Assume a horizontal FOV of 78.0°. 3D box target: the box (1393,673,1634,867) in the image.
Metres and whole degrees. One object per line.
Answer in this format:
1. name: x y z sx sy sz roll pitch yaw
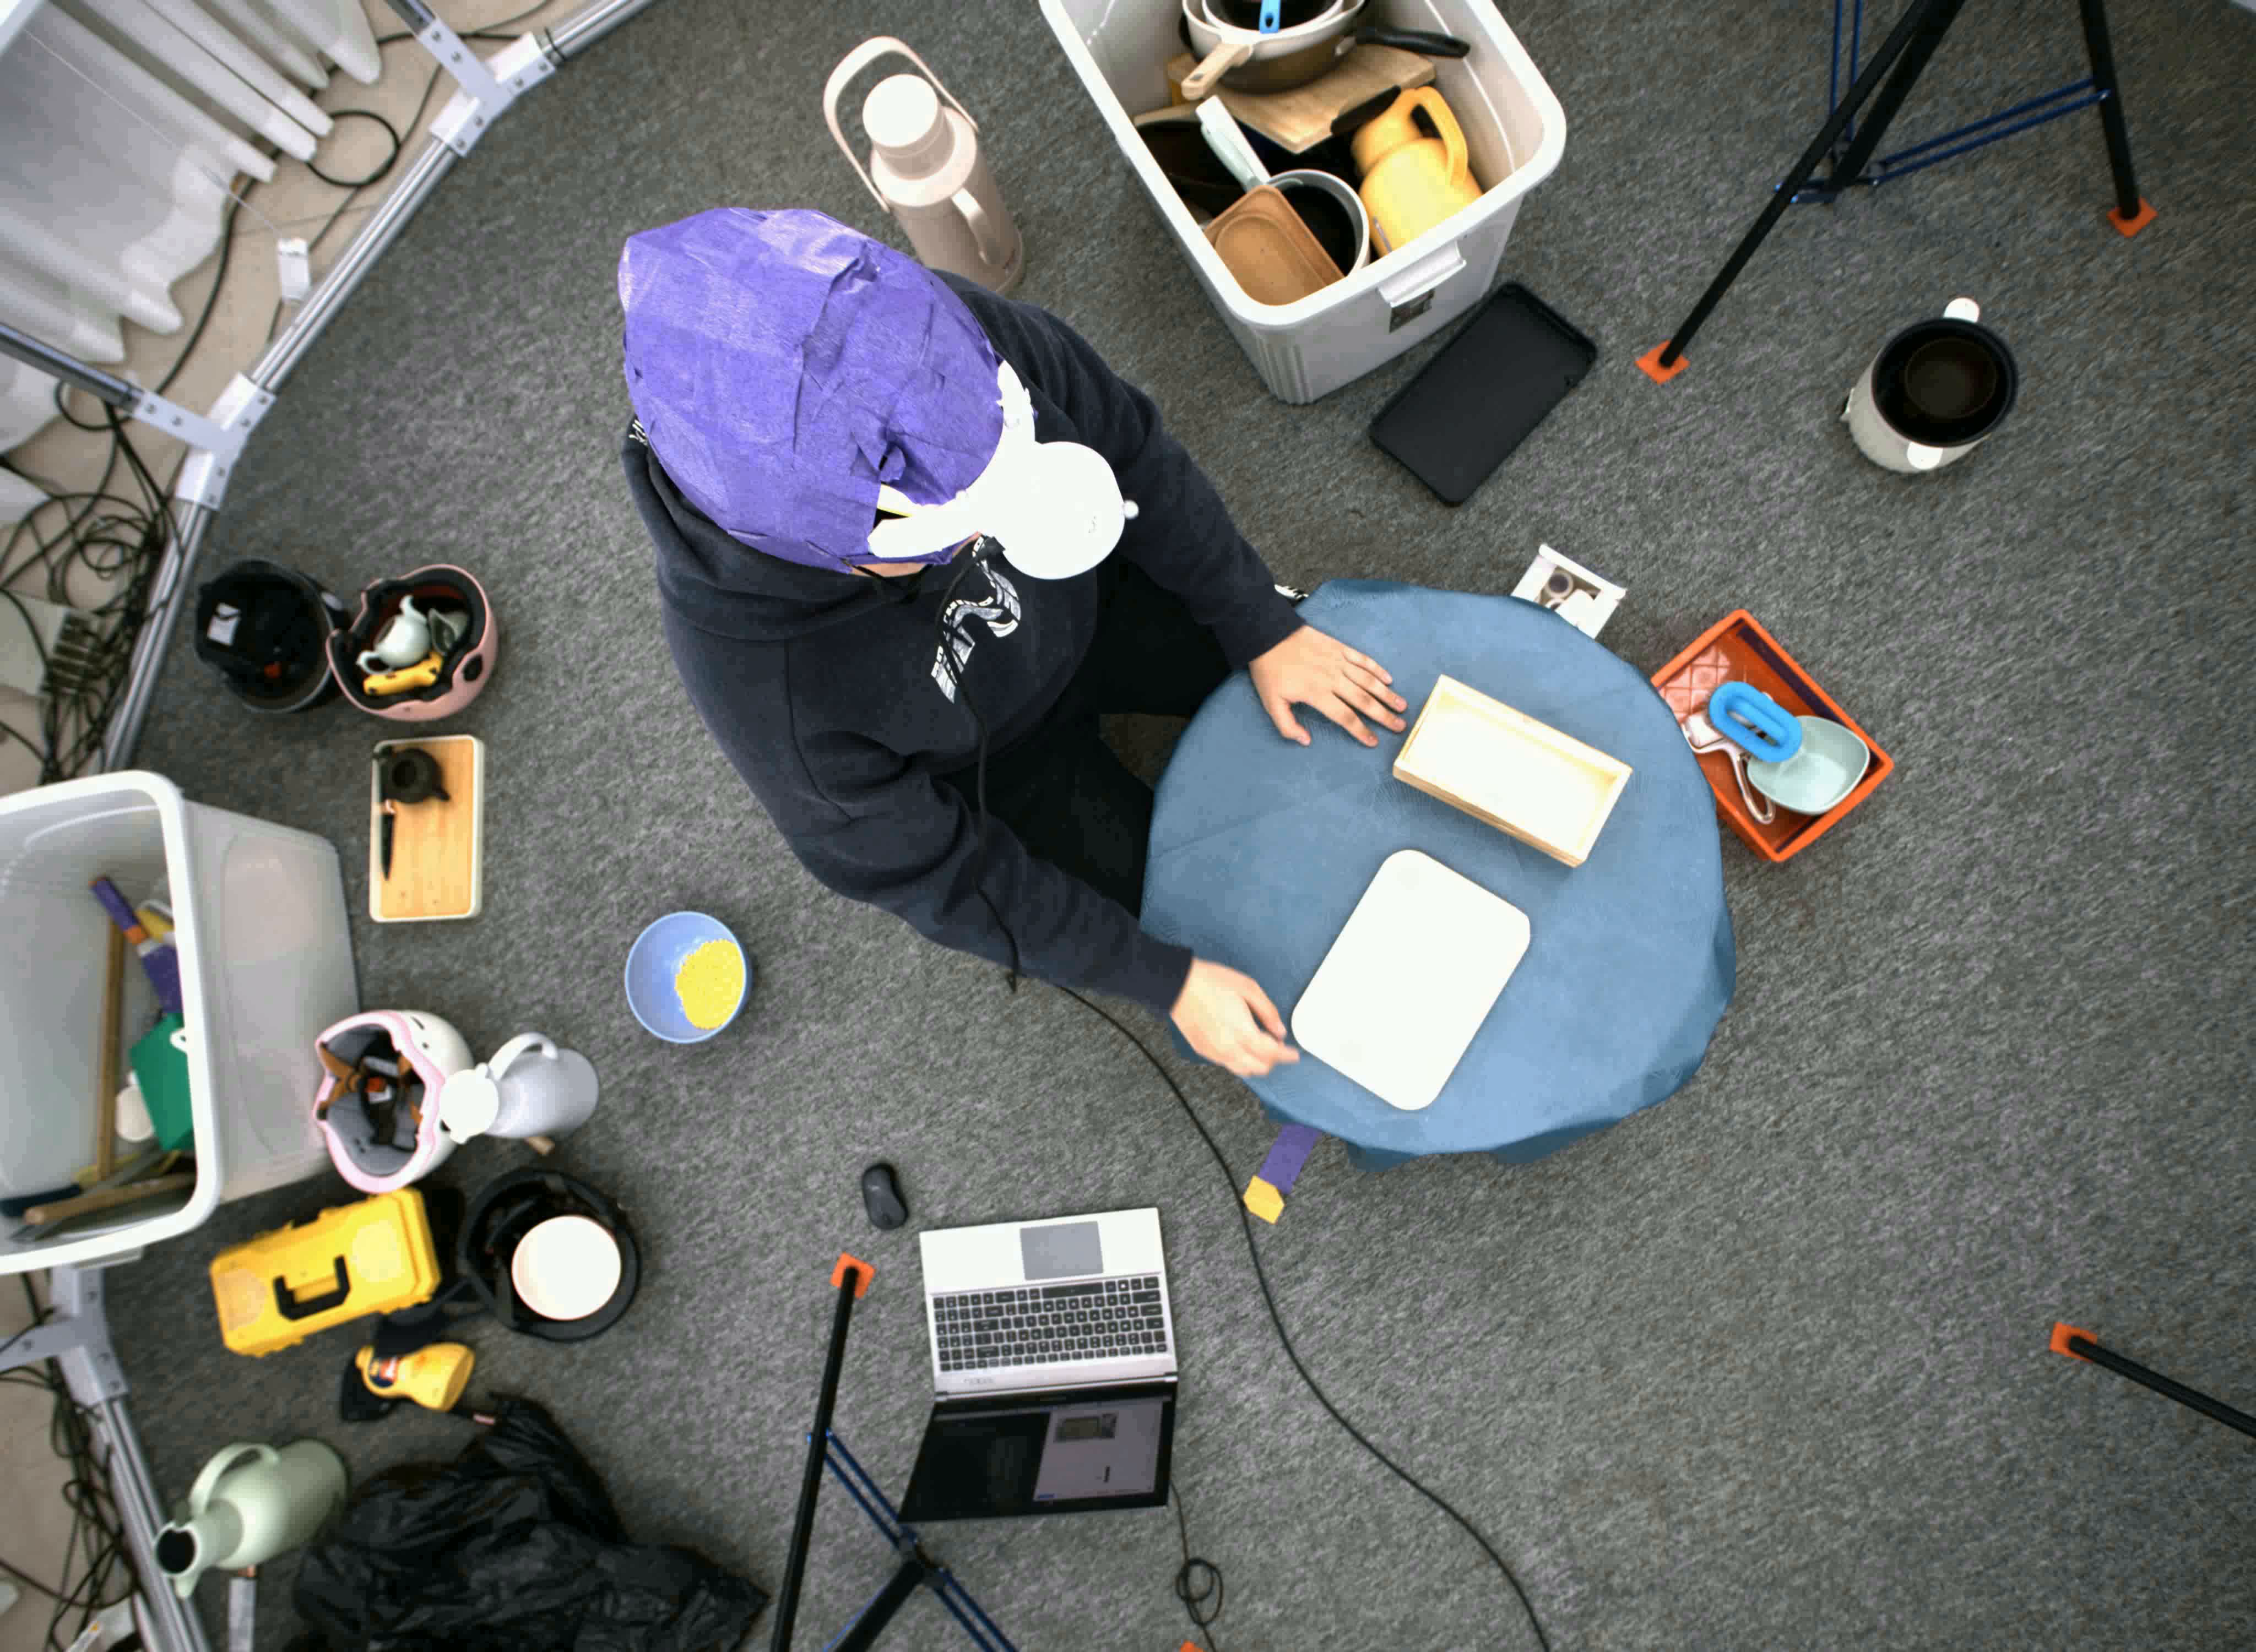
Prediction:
1. box: 0.390 -0.059 1.405 0.211 0.080 0.107 28 90 11

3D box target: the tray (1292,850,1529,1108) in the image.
1. tray: 0.294 0.157 1.442 0.171 0.017 0.240 32 93 12
